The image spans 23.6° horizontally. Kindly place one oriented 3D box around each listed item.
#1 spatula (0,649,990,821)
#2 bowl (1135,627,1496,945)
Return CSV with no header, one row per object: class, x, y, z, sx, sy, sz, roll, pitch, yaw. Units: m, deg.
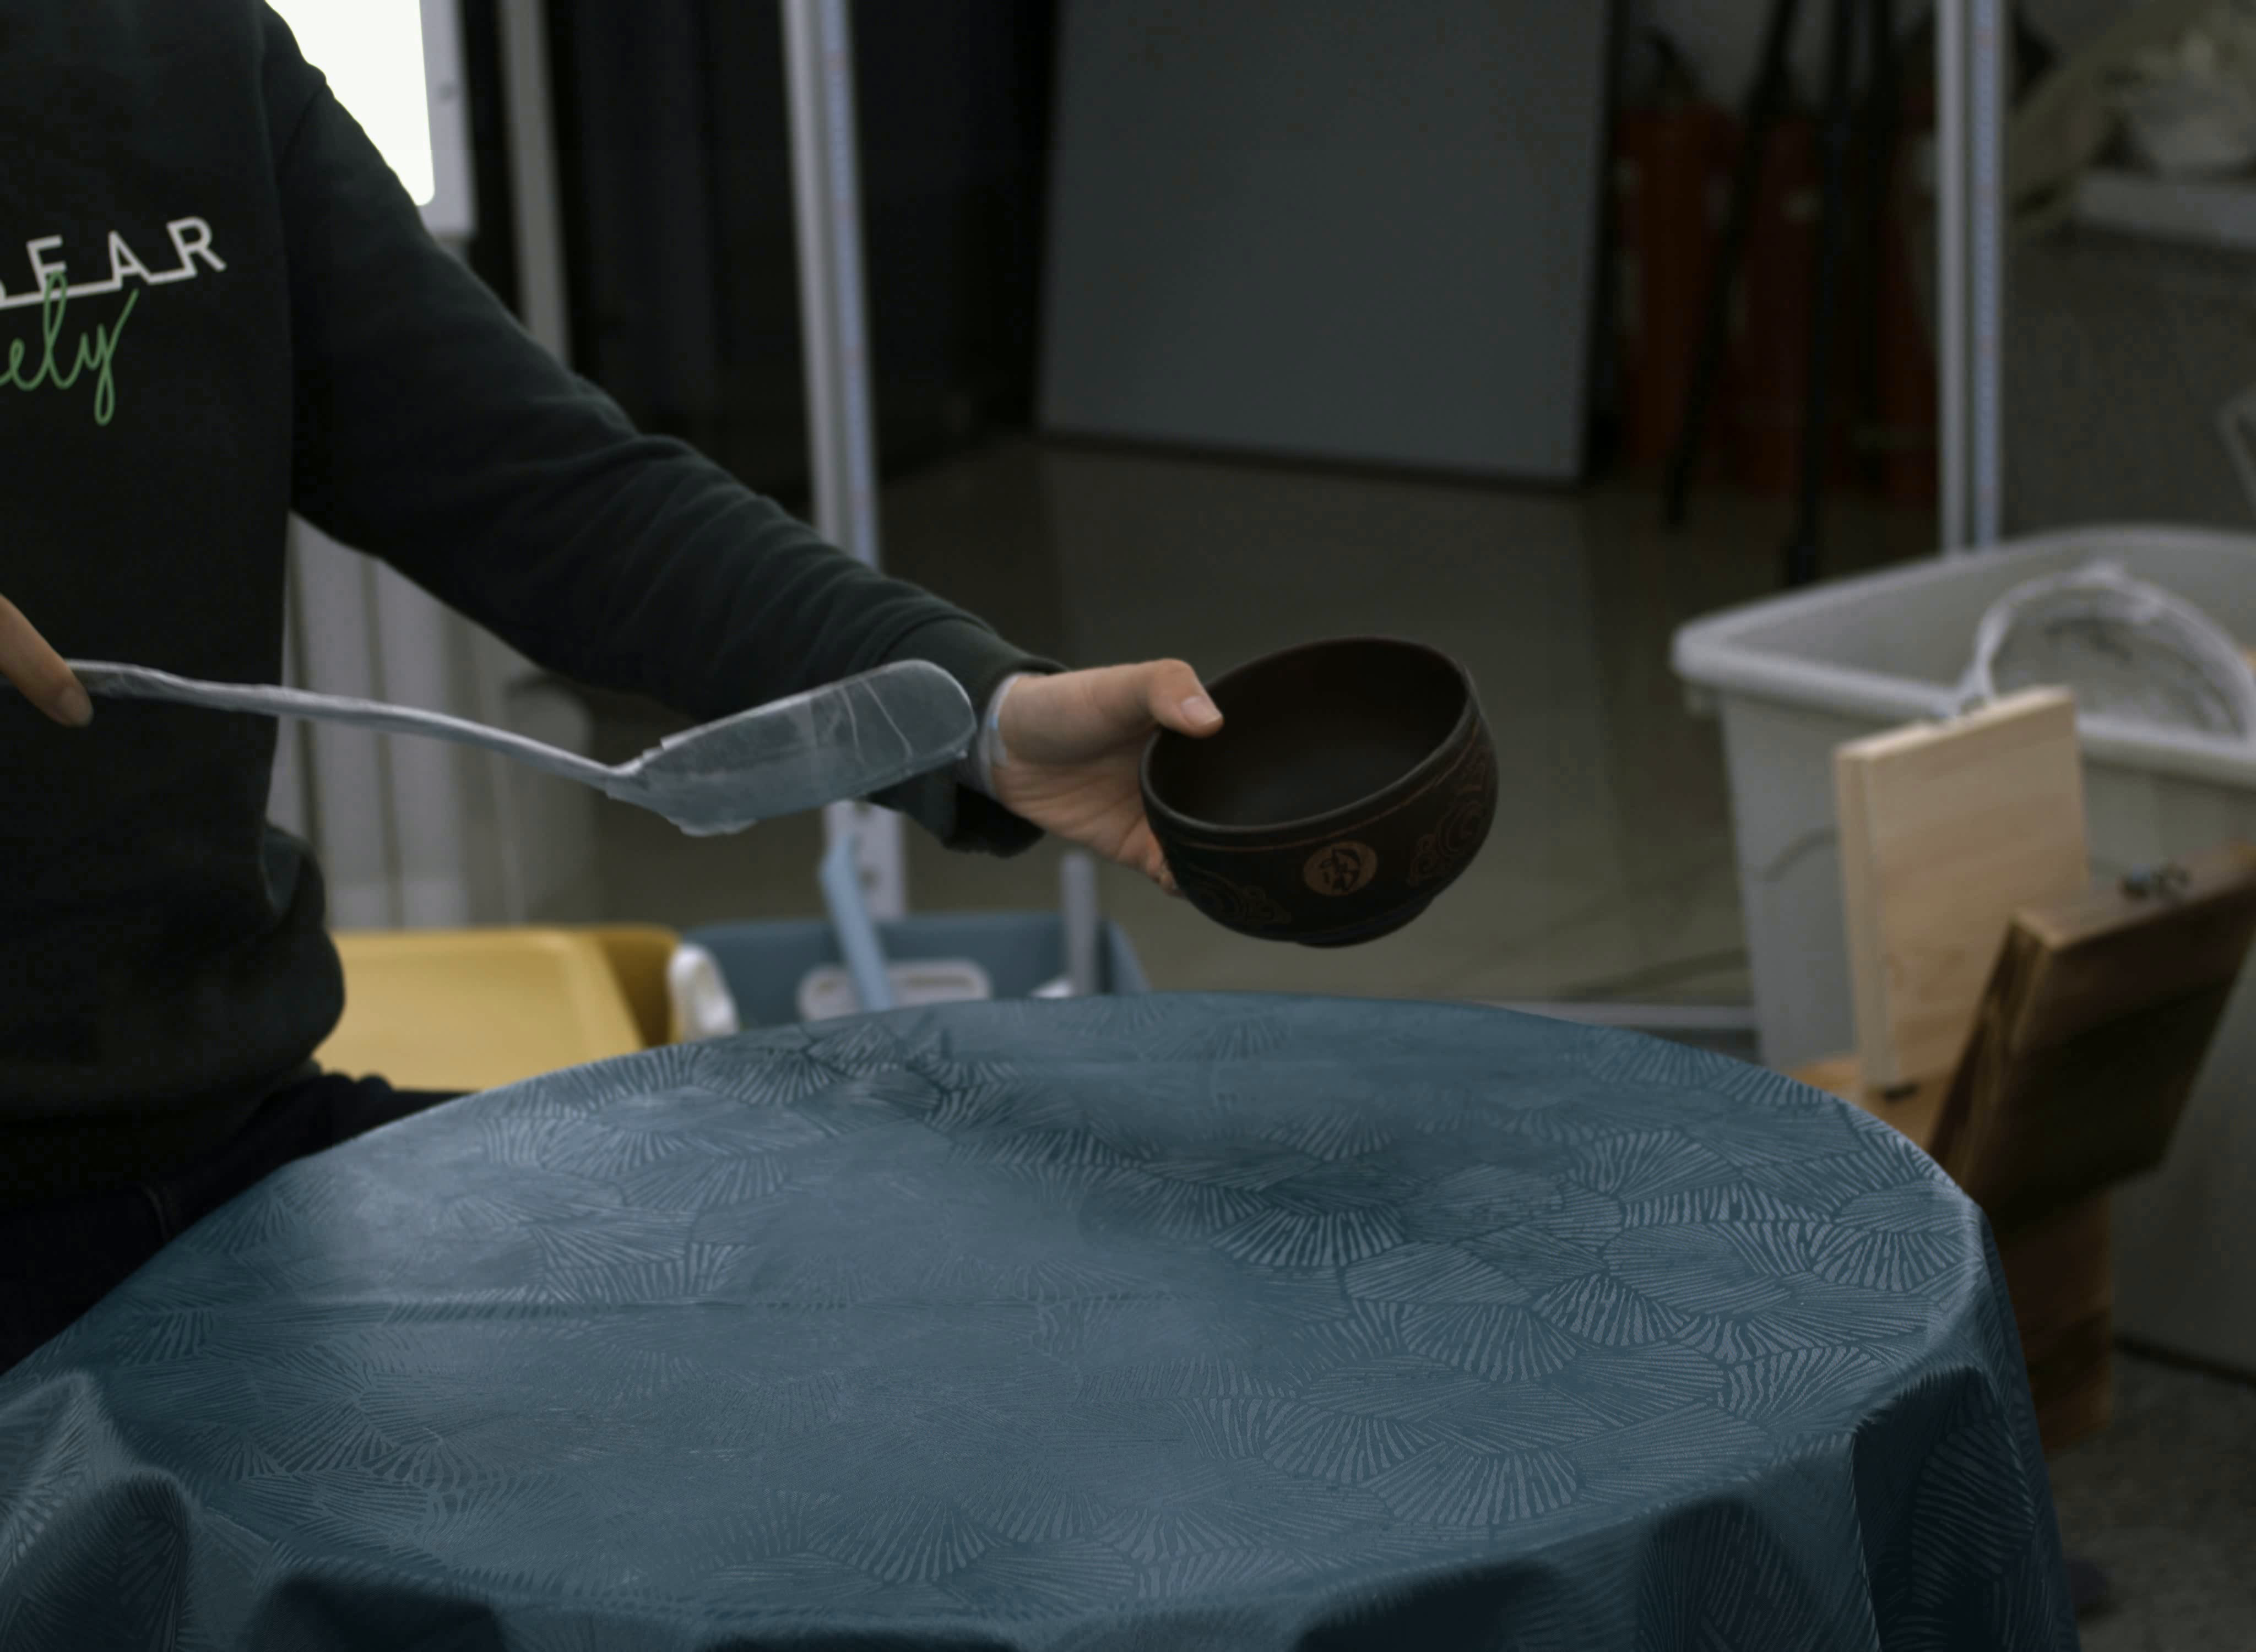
spatula,-0.221,-0.035,1.569,0.361,0.045,0.098,6,-16,6
bowl,0.066,-0.005,1.762,0.117,0.070,0.118,-15,28,7
